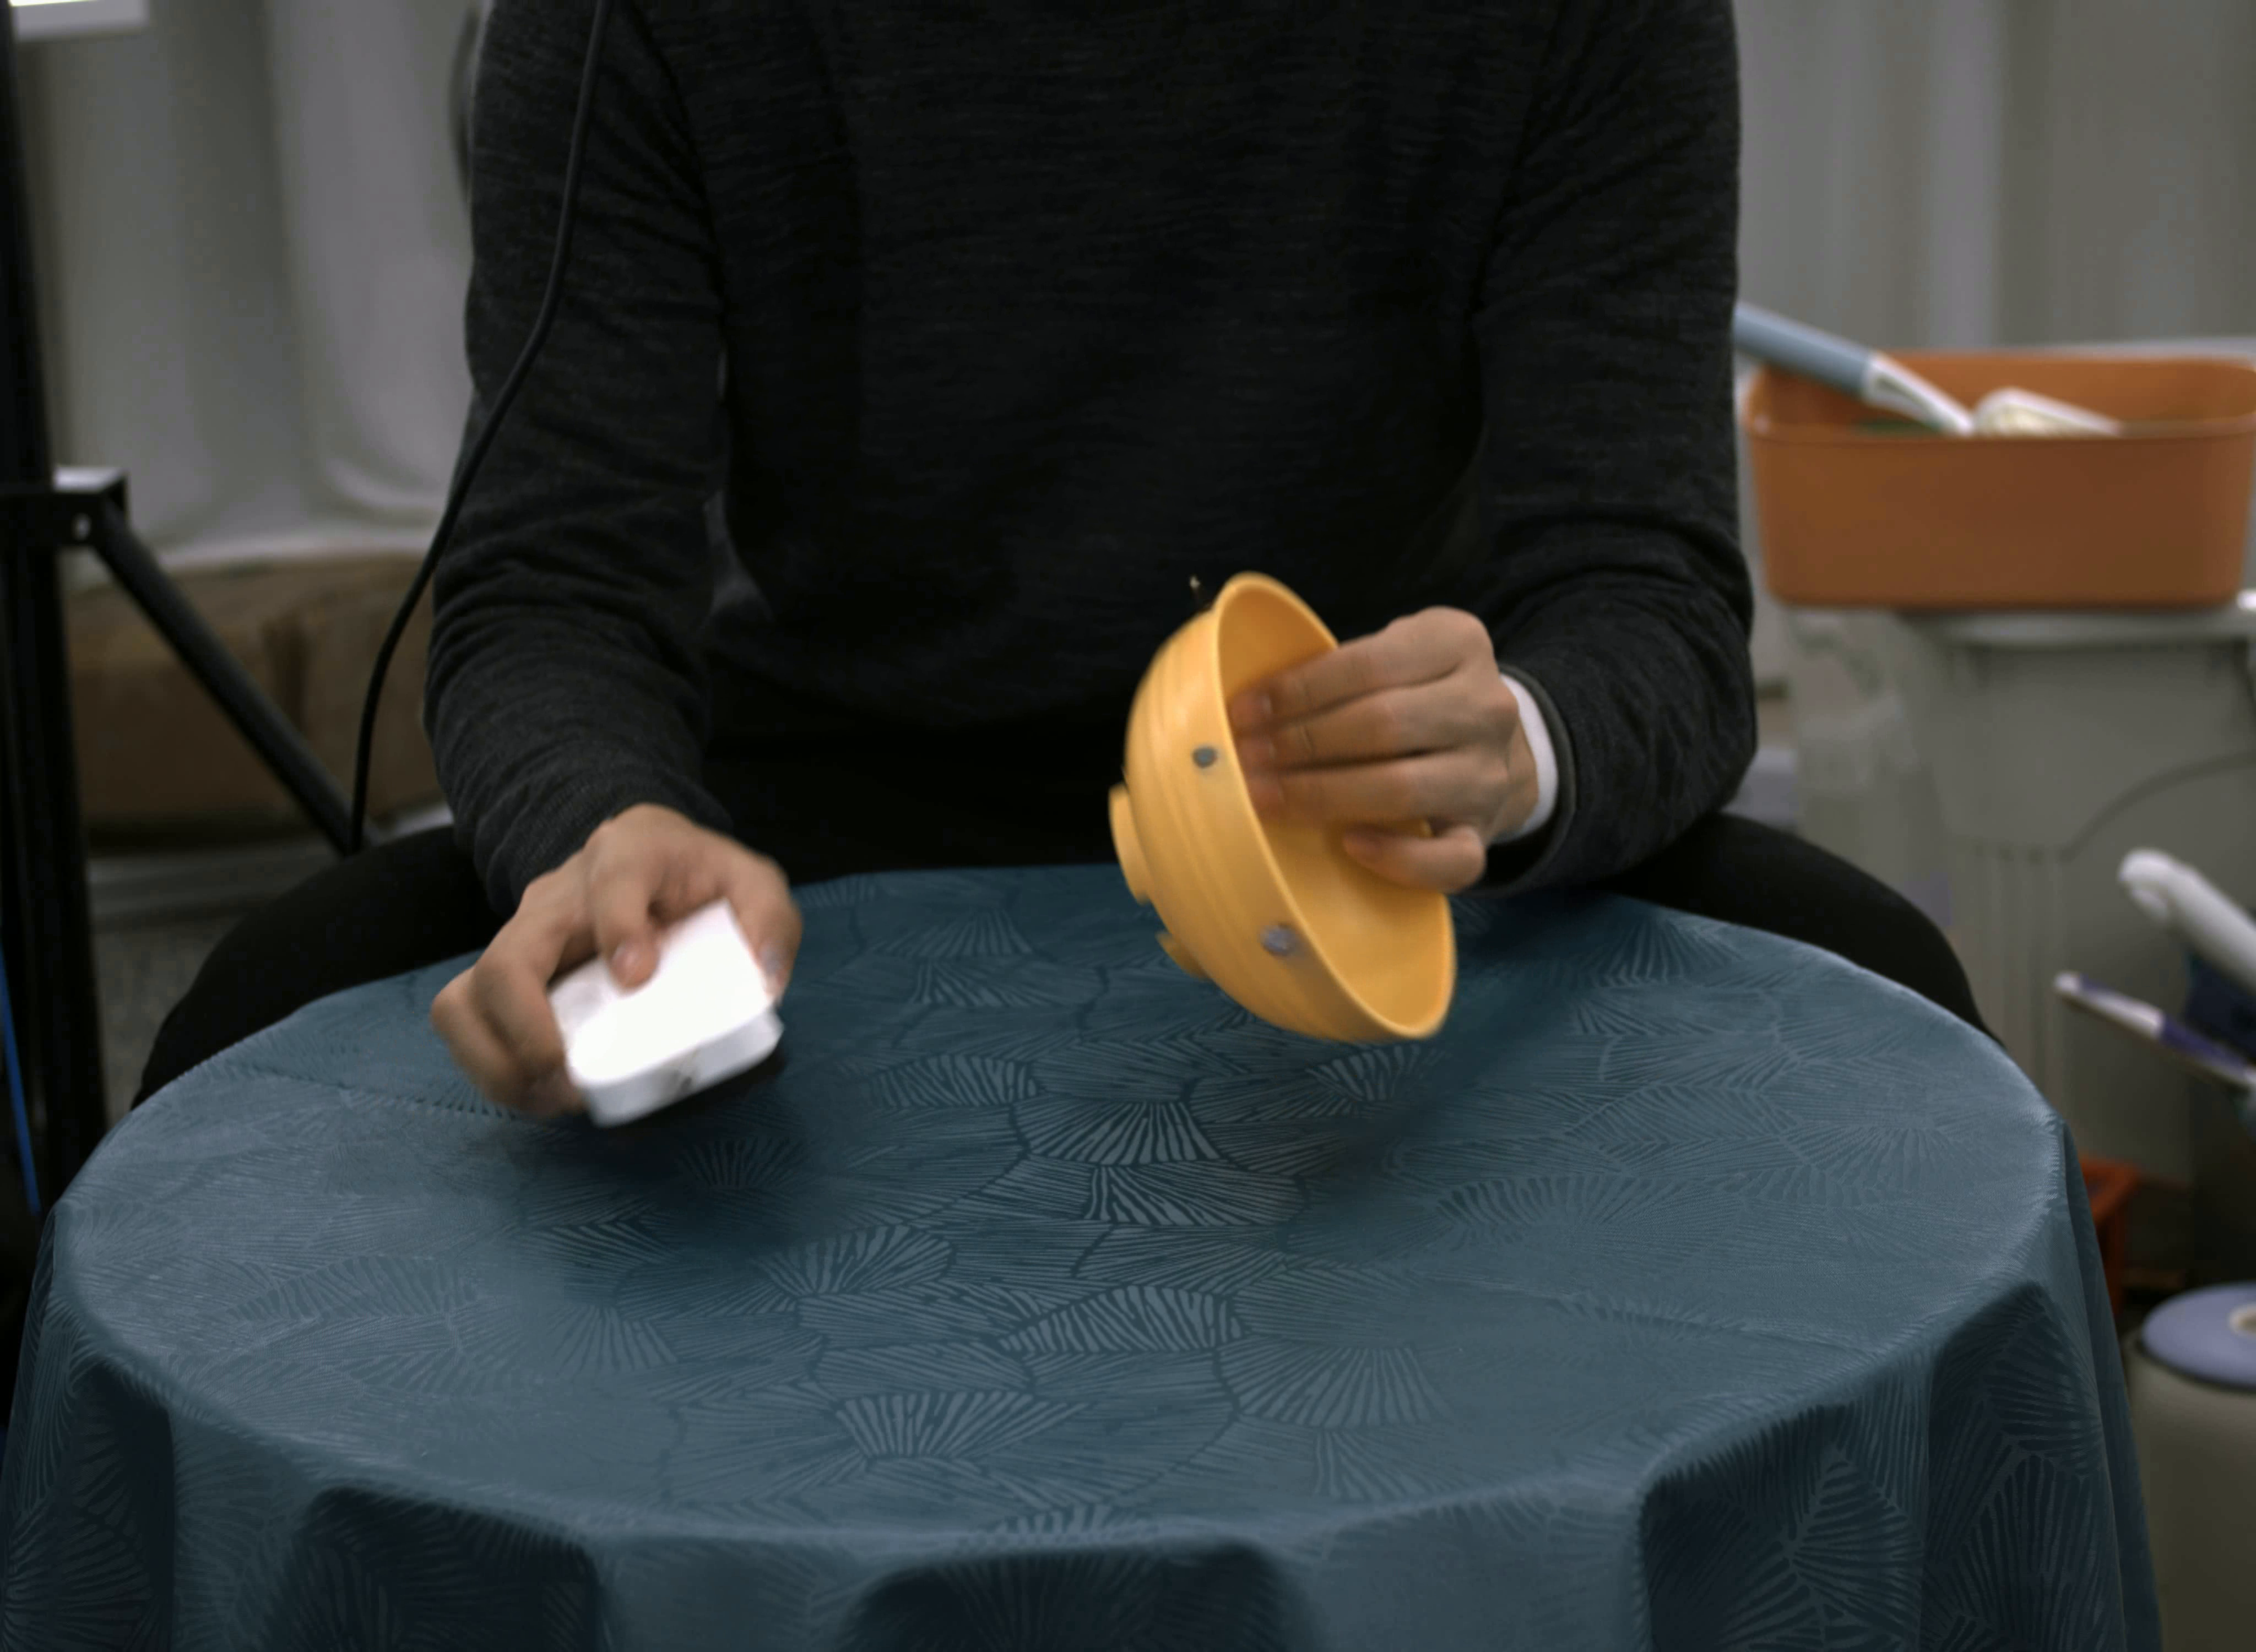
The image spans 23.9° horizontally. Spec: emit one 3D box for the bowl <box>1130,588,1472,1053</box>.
[{"bbox_3d":[0.042,0.008,1.560,0.060,0.145,0.144,-26,7,22],"label":"bowl"}]

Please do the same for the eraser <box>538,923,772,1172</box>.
[{"bbox_3d":[-0.140,0.062,1.586,0.063,0.034,0.132,-21,18,-3],"label":"eraser"}]
